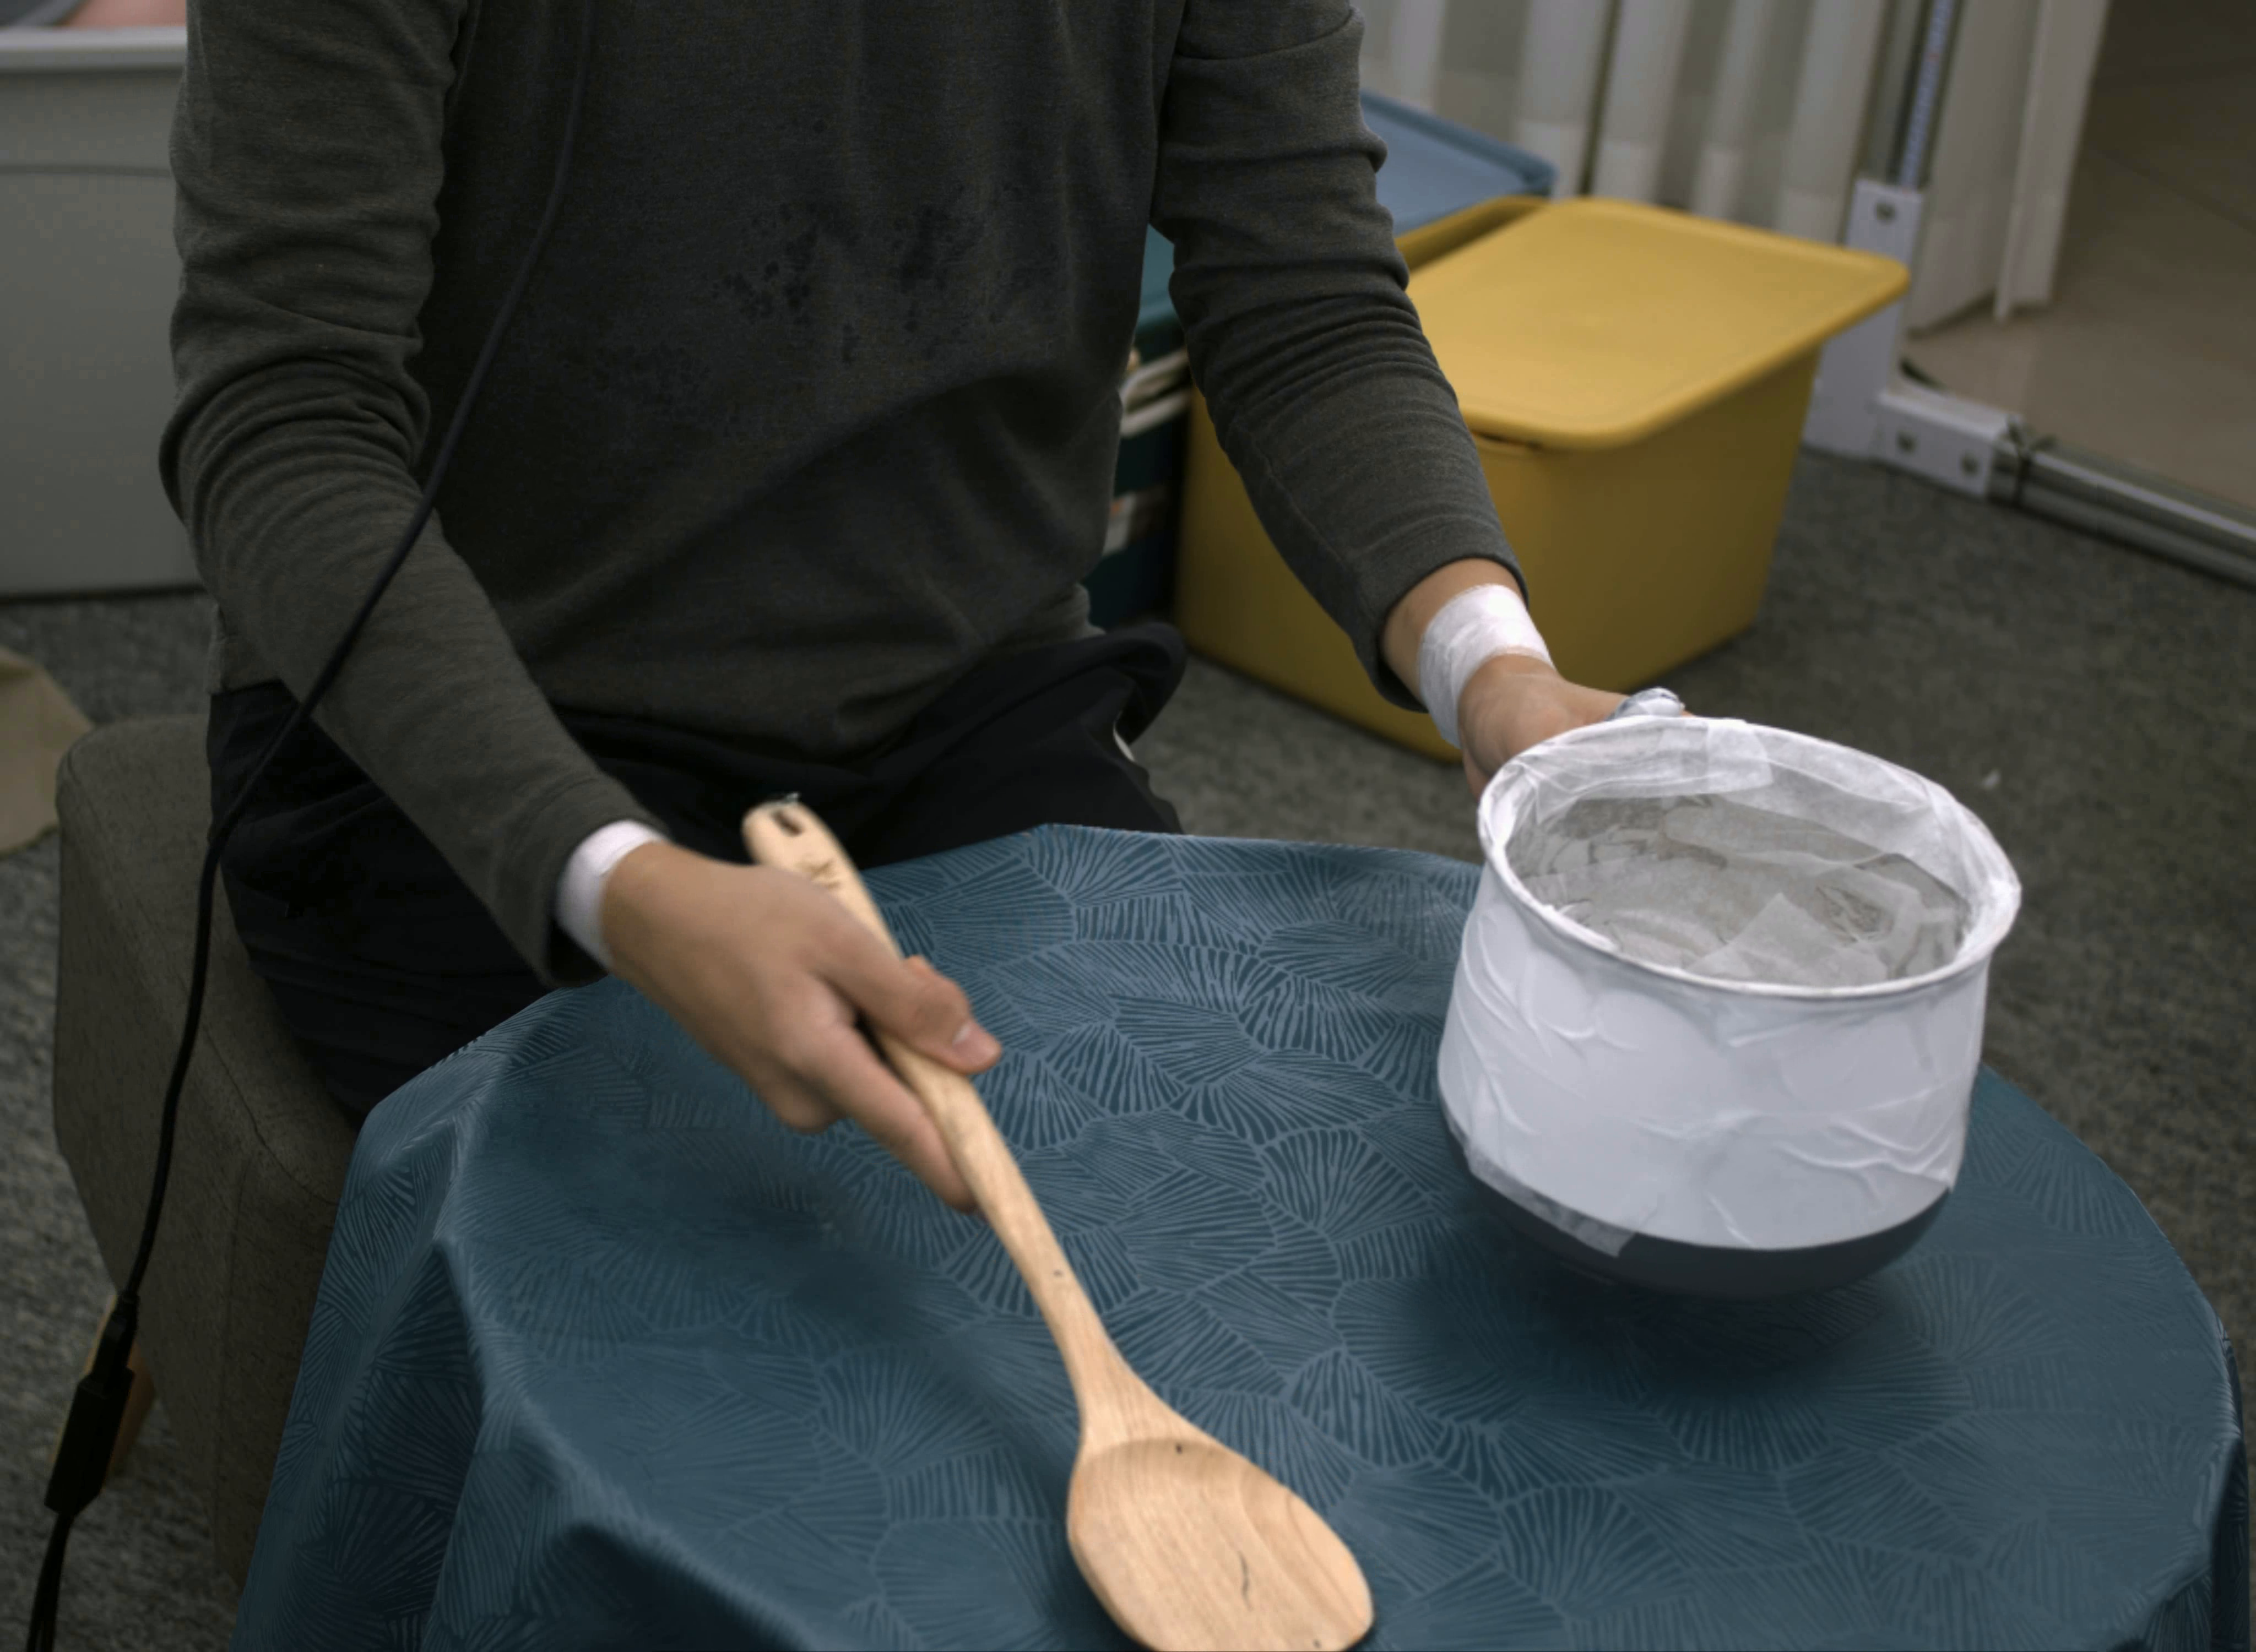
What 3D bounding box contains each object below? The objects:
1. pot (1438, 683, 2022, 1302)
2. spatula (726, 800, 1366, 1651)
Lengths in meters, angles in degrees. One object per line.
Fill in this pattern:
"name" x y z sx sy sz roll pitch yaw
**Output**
"pot" 0.188 0.047 1.772 0.178 0.136 0.236 -1 30 -14
"spatula" -0.046 0.120 1.682 0.095 0.018 0.394 -2 43 -35
